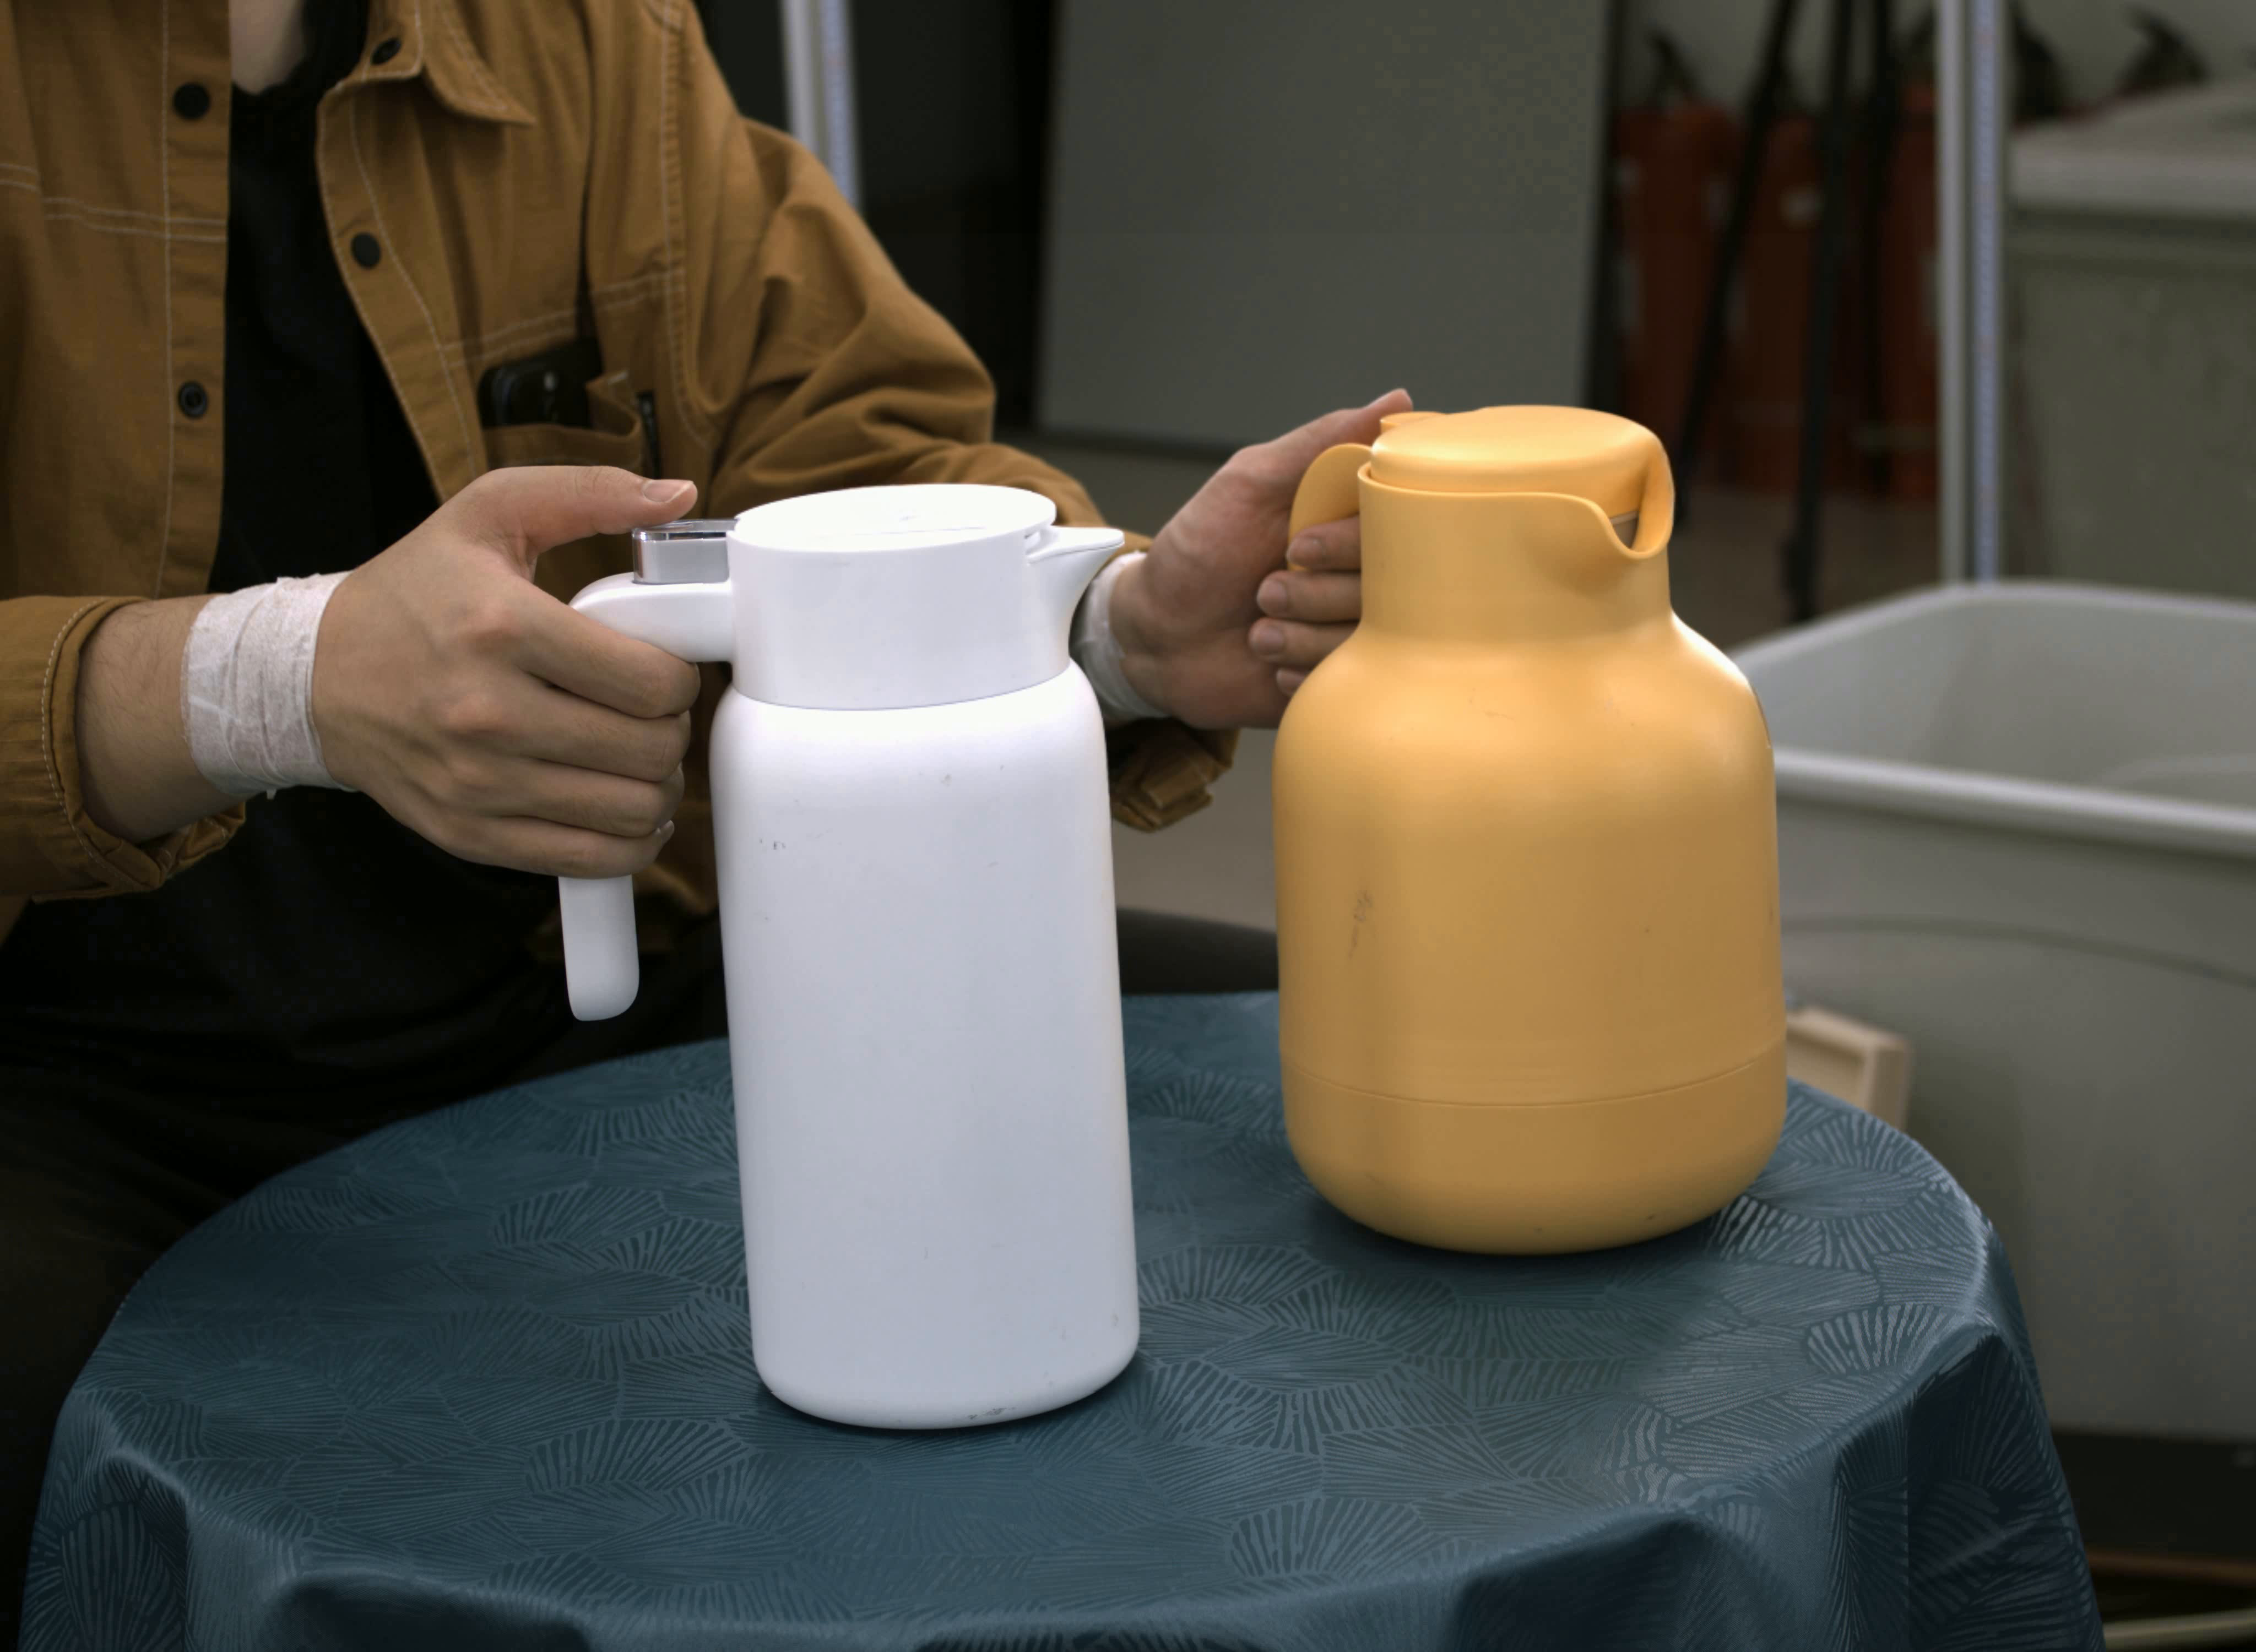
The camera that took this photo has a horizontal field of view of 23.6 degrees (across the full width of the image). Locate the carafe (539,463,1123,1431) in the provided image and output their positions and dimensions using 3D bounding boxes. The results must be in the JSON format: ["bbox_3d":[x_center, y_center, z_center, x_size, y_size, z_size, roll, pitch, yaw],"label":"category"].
[{"bbox_3d":[-0.081,0.035,1.585,0.171,0.272,0.124,-2,15,4],"label":"carafe"}]

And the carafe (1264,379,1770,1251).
[{"bbox_3d":[0.115,-0.011,1.720,0.160,0.263,0.204,-7,15,-25],"label":"carafe"}]
